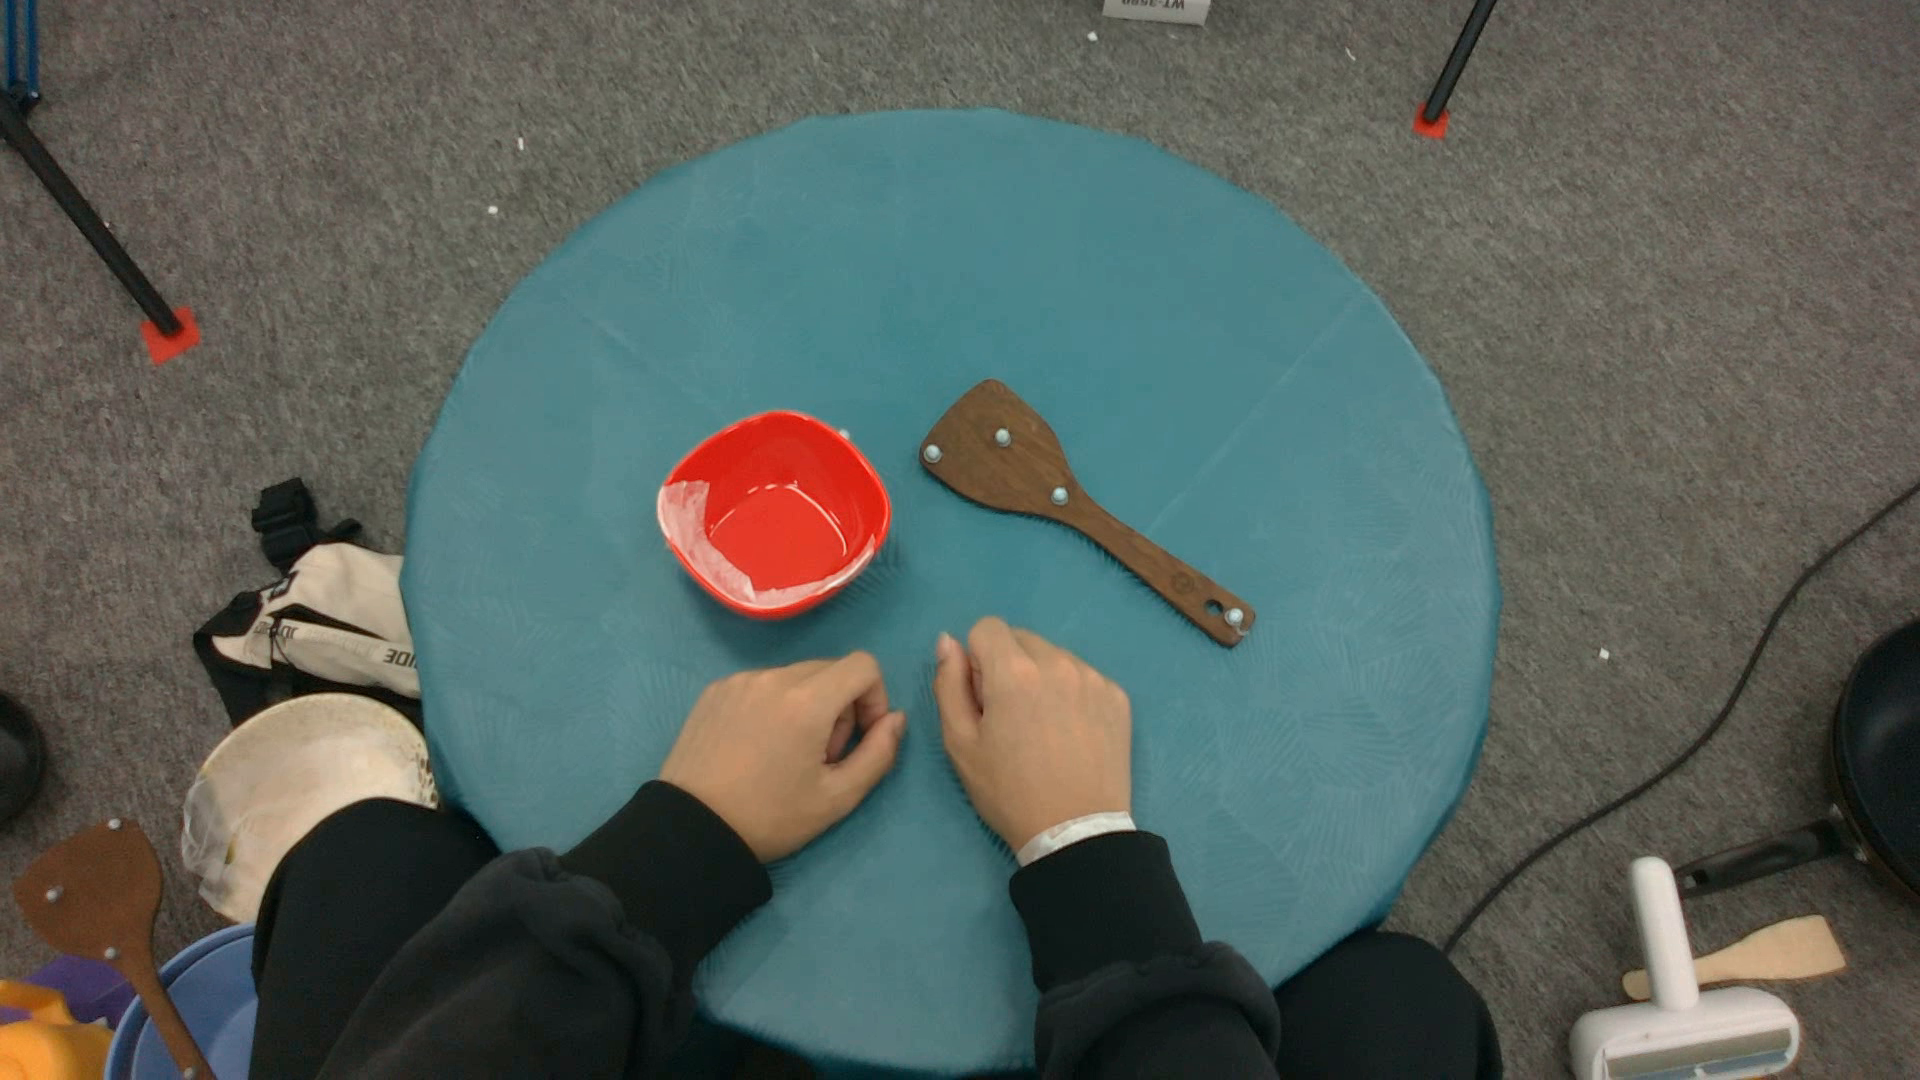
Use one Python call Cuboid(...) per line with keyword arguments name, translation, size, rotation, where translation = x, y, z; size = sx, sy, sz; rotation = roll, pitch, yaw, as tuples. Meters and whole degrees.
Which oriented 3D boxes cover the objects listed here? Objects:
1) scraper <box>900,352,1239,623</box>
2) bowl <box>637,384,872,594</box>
Cuboid(name="scraper", translation=(0.064, -0.025, 0.763), size=(0.211, 0.011, 0.076), rotation=(37, 67, 13))
Cuboid(name="bowl", translation=(-0.106, -0.019, 0.721), size=(0.119, 0.051, 0.119), rotation=(3, 61, -5))
